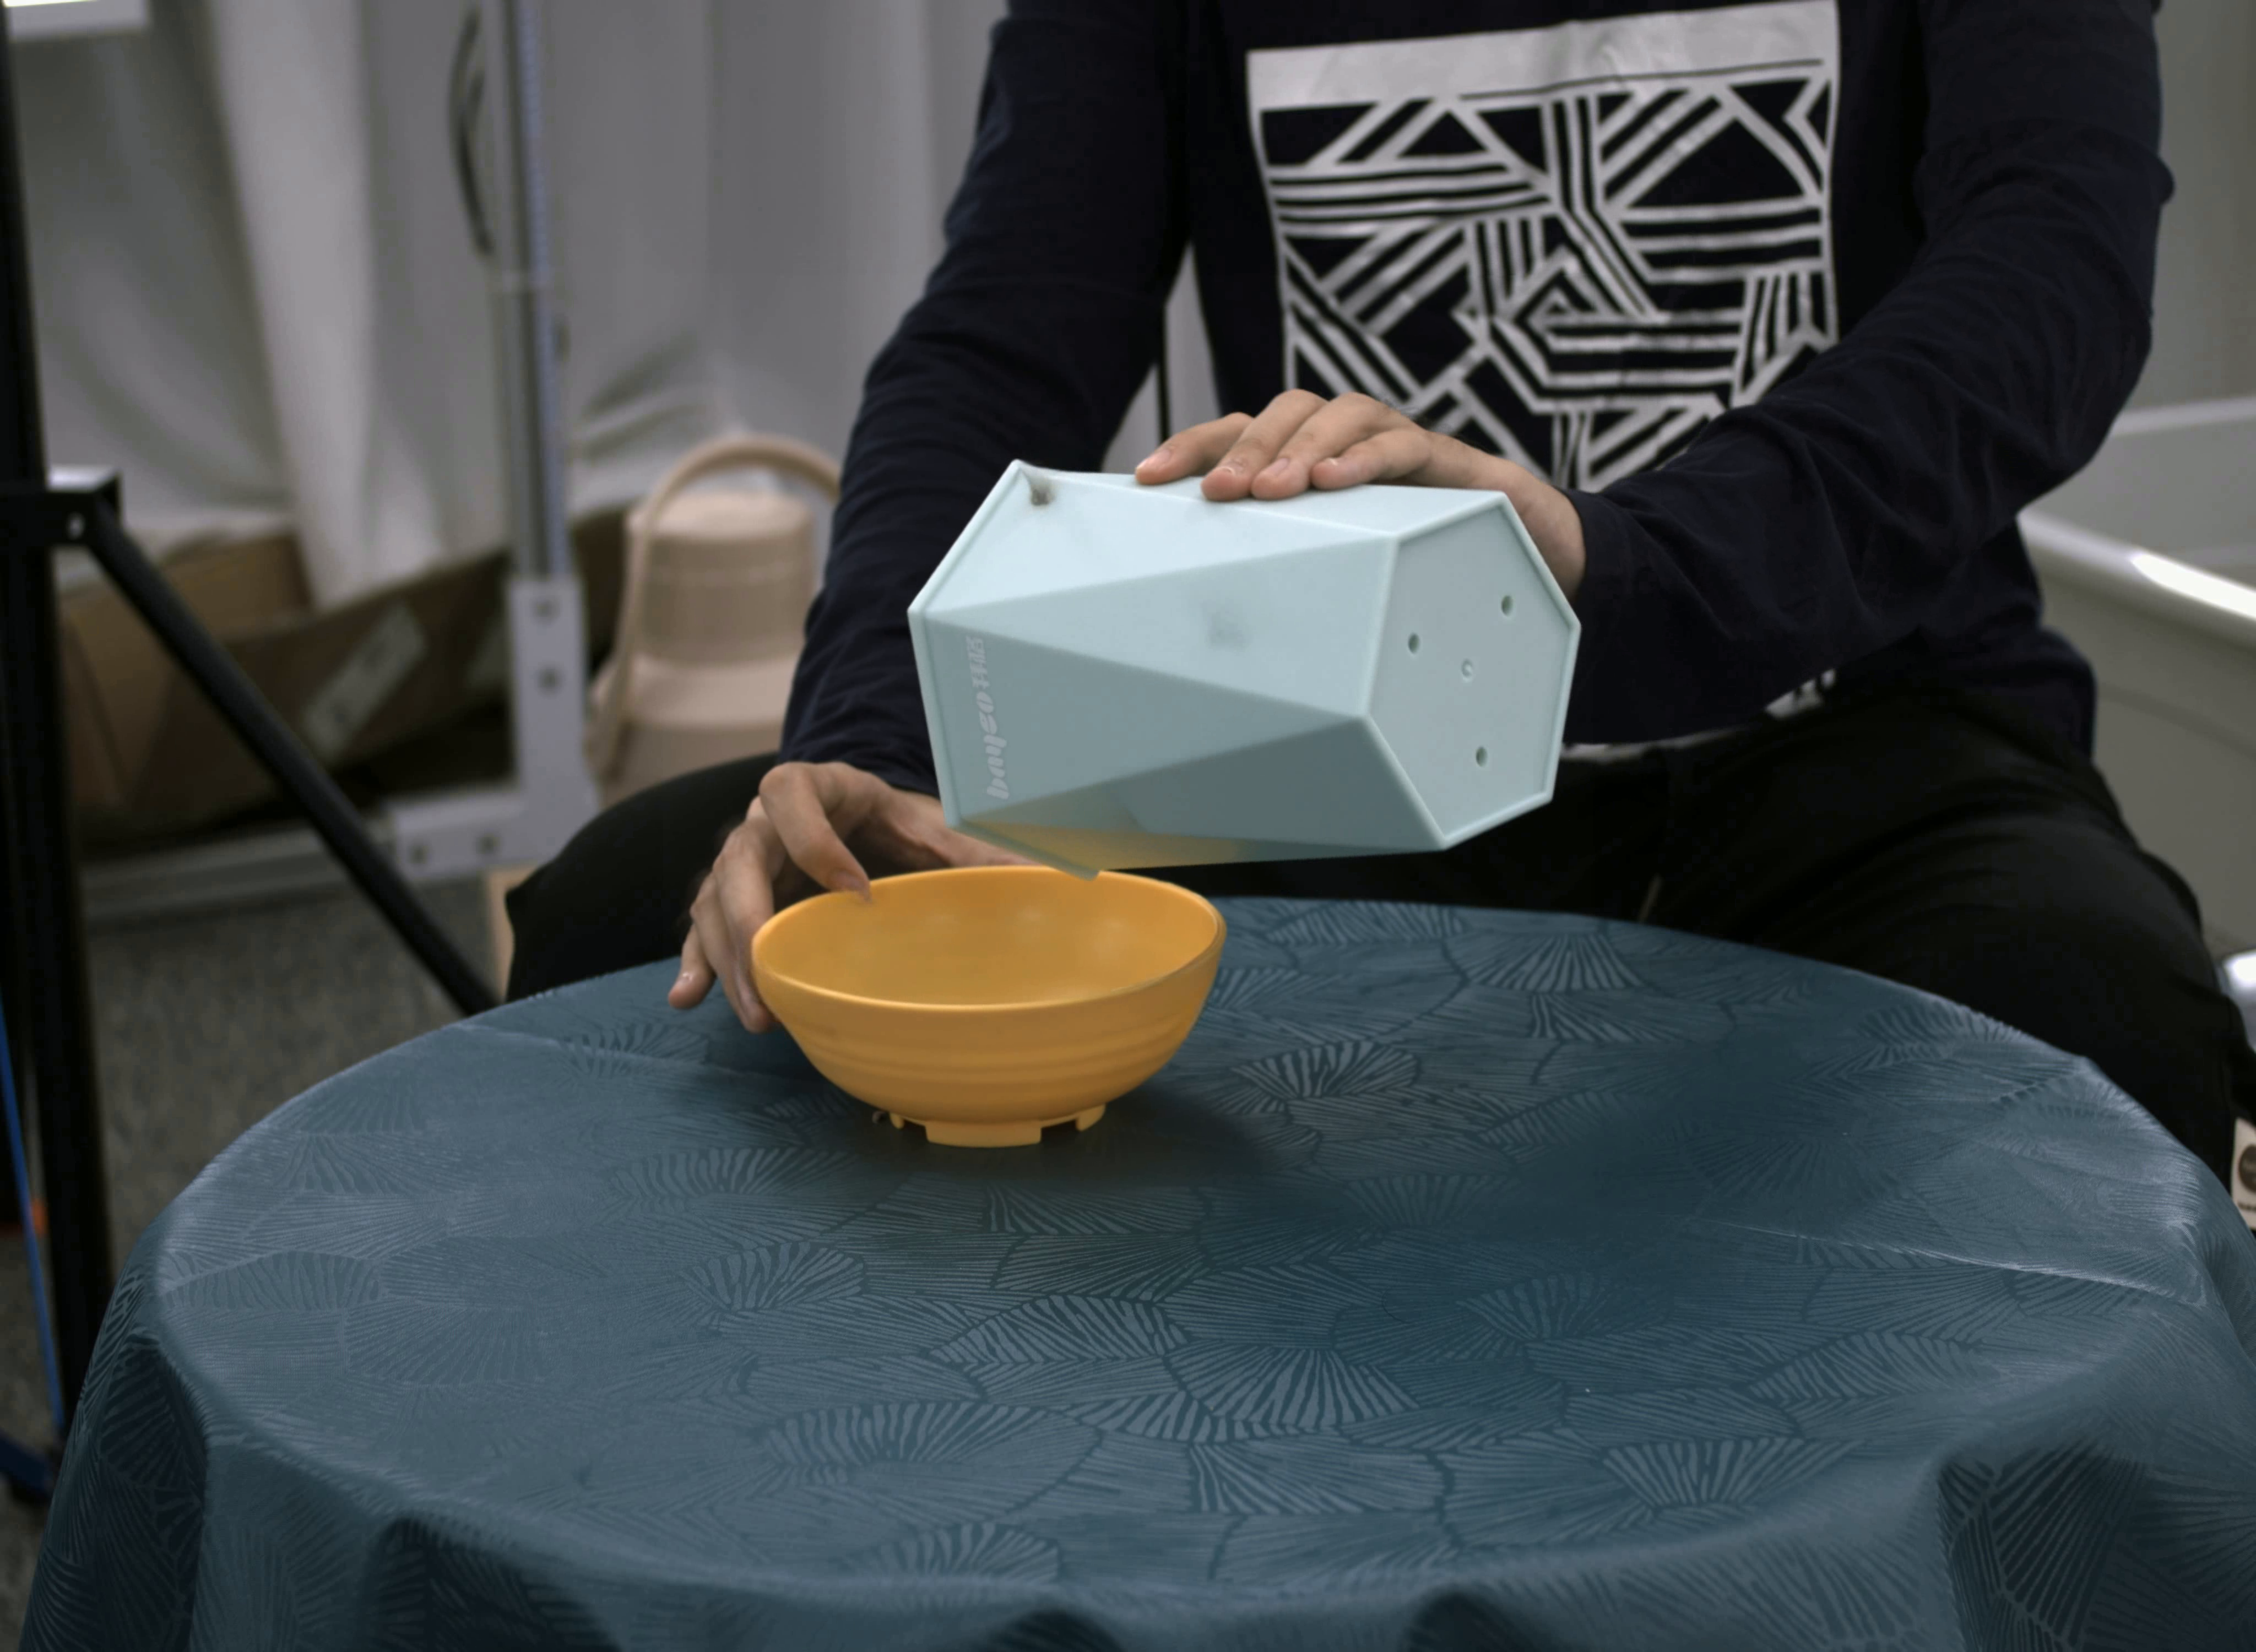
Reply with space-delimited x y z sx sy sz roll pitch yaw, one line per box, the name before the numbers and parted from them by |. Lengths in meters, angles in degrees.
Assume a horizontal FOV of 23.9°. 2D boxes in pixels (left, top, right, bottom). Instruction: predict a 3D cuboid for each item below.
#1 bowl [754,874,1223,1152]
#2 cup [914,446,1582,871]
bowl | -0.042 0.062 1.630 0.144 0.060 0.146 -1 14 -1
cup | 0.037 -0.047 1.544 0.166 0.131 0.112 3 15 43
